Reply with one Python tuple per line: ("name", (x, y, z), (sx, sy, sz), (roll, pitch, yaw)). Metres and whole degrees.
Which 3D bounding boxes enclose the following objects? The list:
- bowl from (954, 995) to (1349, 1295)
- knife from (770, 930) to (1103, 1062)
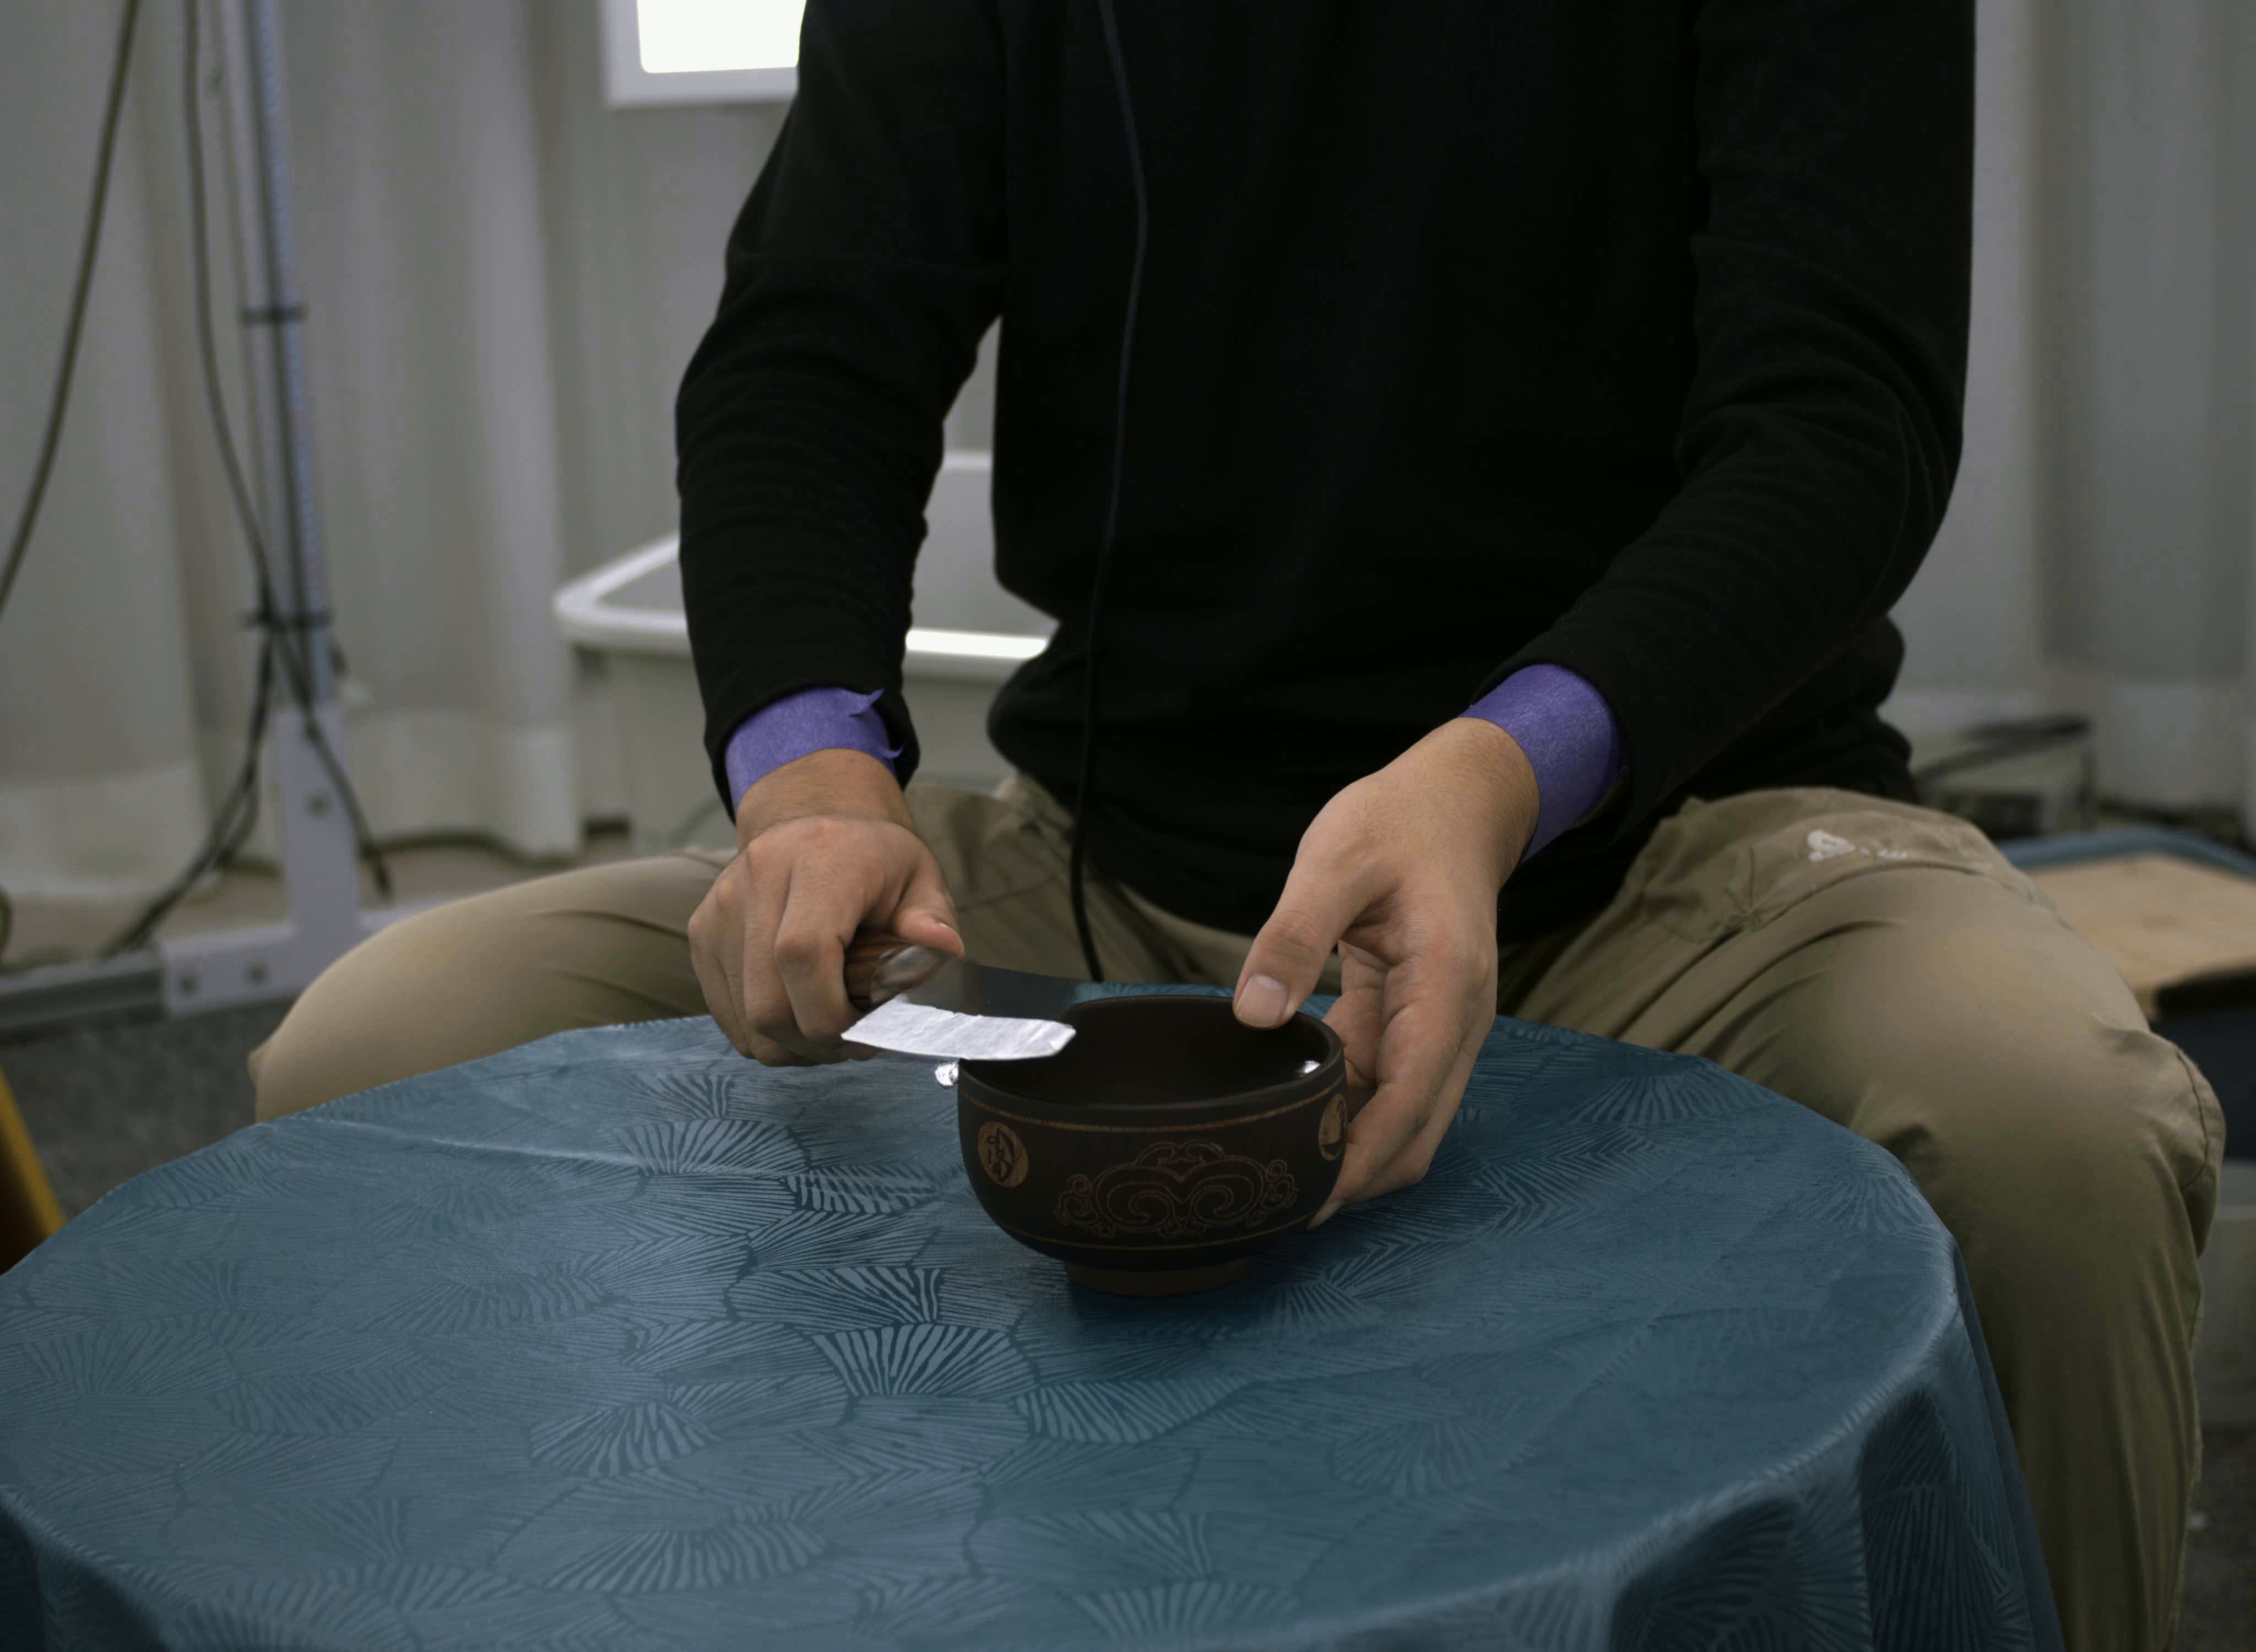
("bowl", (0.008, 0.099, 1.635), (0.117, 0.069, 0.119), (-2, 13, 0))
("knife", (-0.062, 0.054, 1.696), (0.050, 0.020, 0.290), (-35, 13, -14))
